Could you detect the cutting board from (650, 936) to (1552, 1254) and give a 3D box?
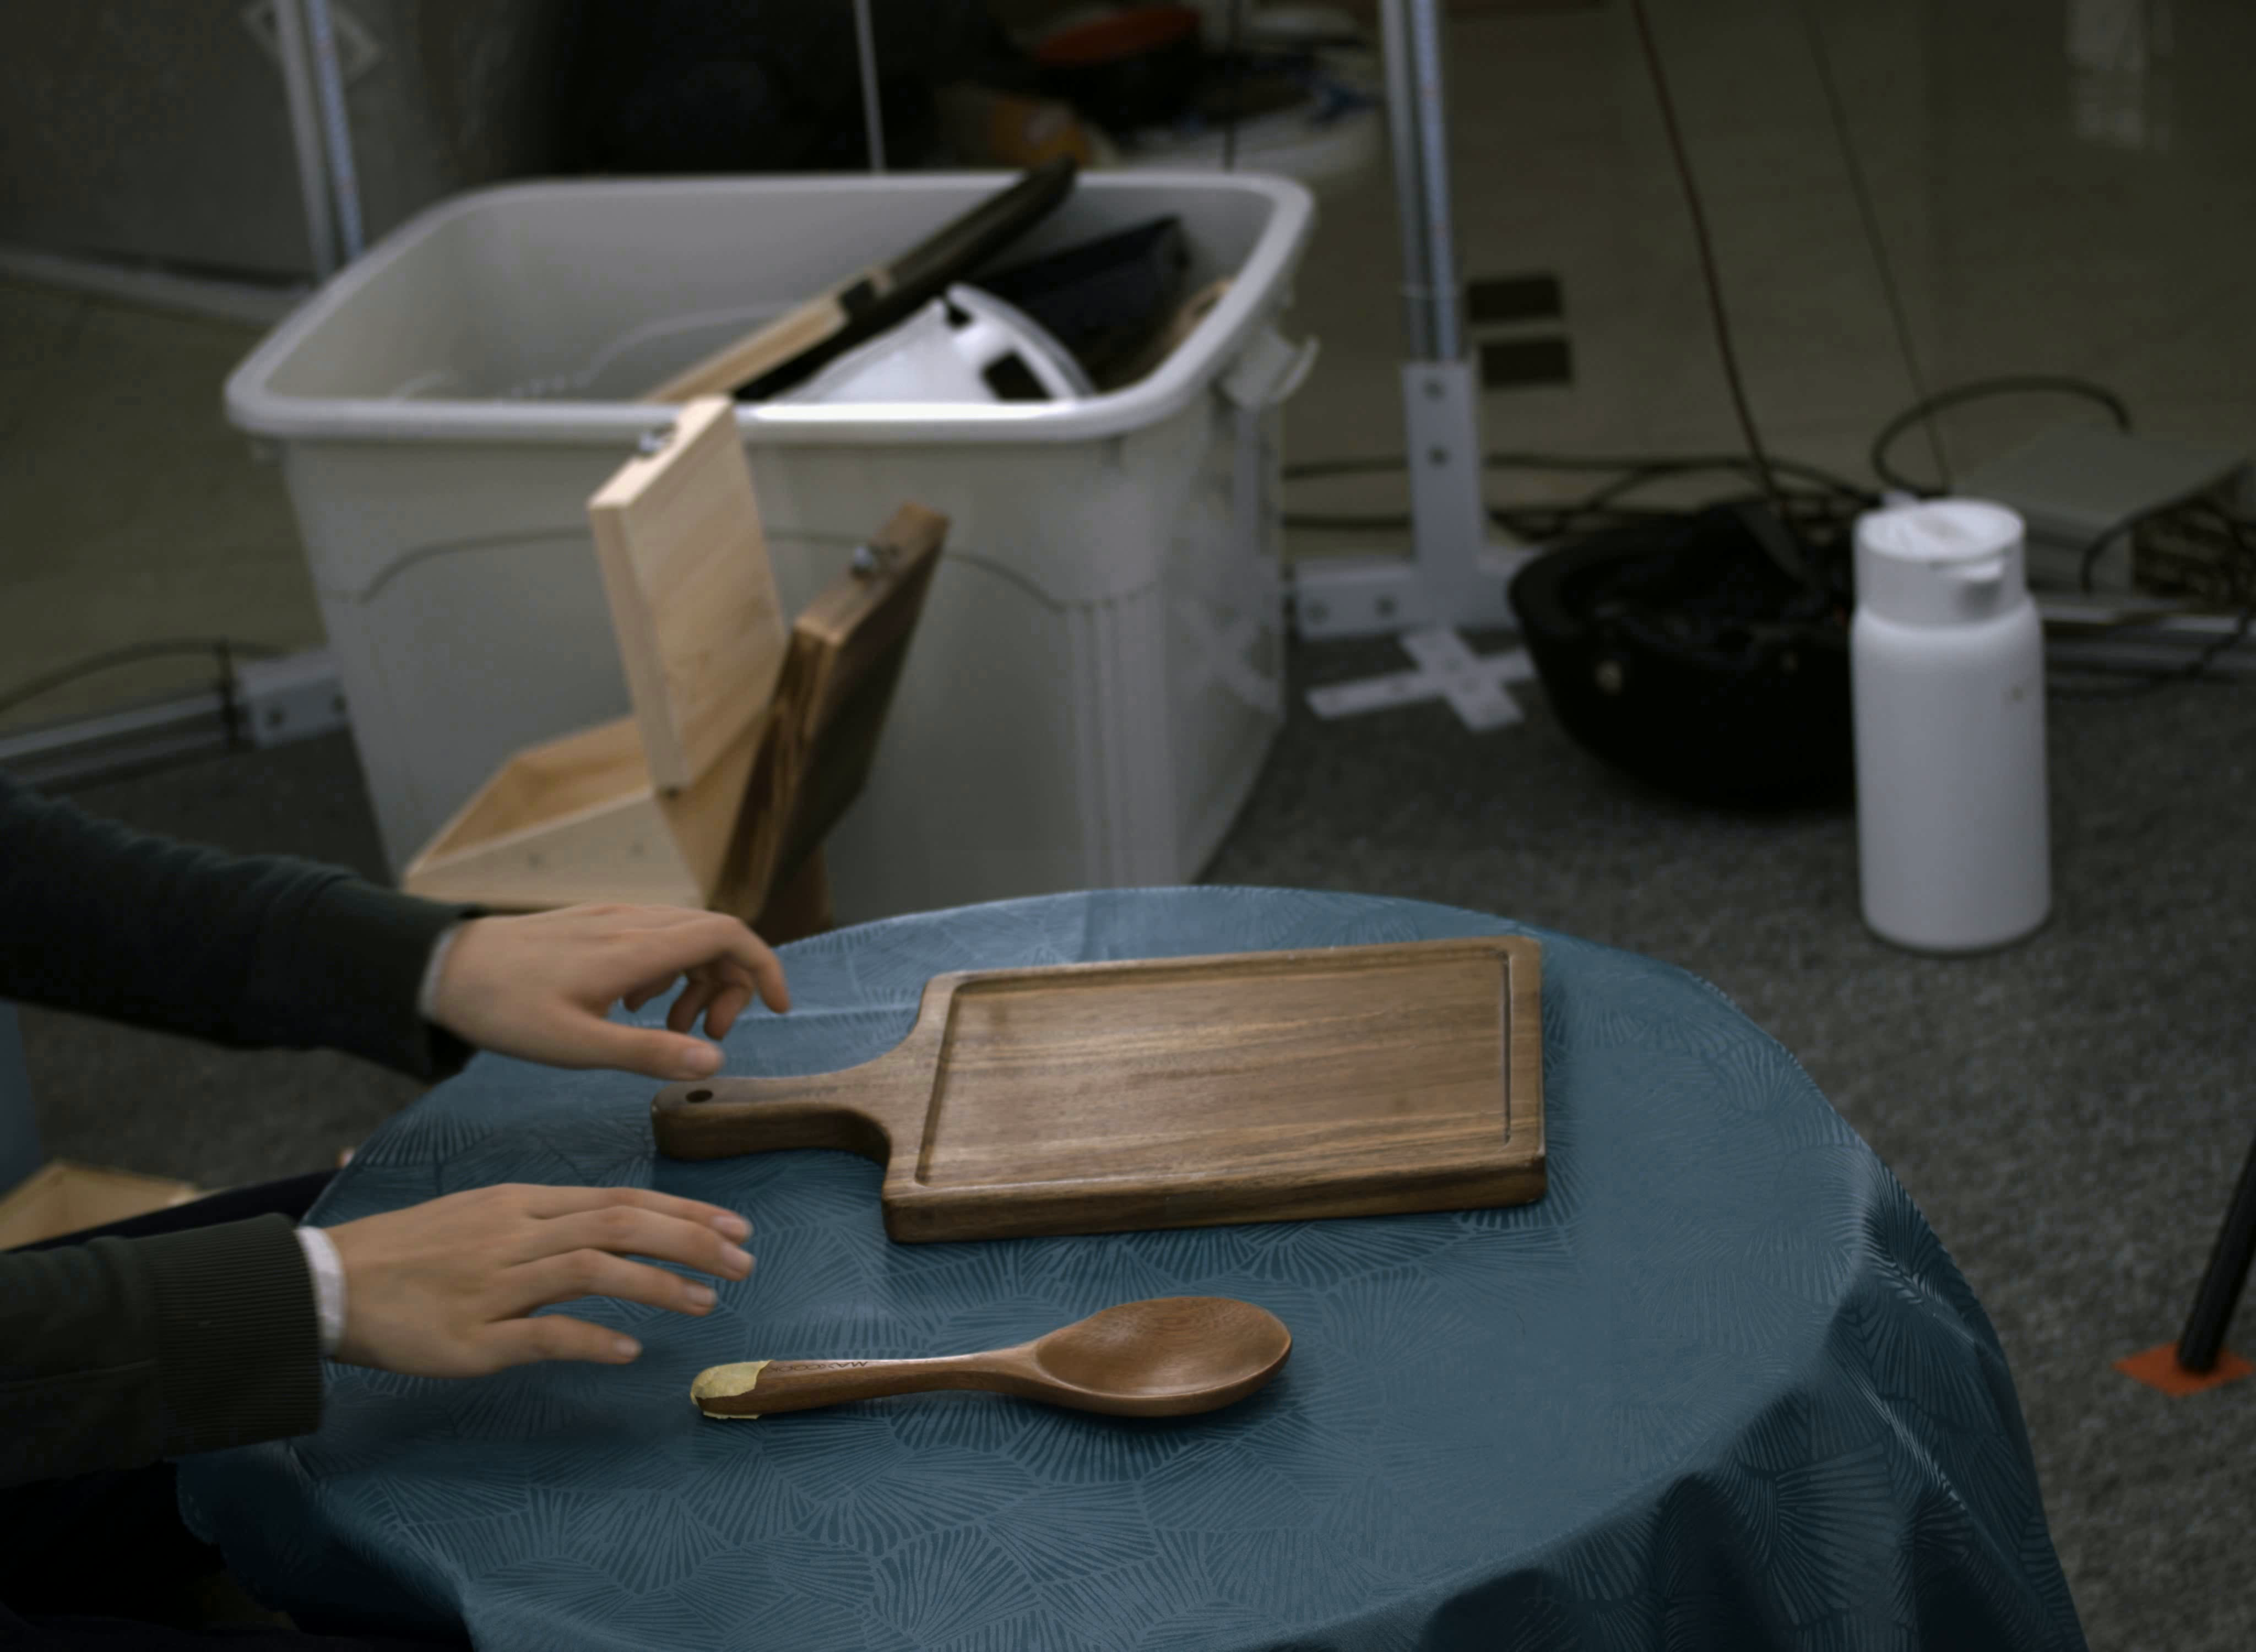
[{"bbox_3d":[-0.012,0.106,2.207,0.351,0.023,0.198,-4,26,5],"label":"cutting board"}]

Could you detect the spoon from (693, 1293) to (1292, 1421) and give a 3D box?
[{"bbox_3d":[-0.048,0.195,2.024,0.215,0.017,0.074,-3,27,6],"label":"spoon"}]
